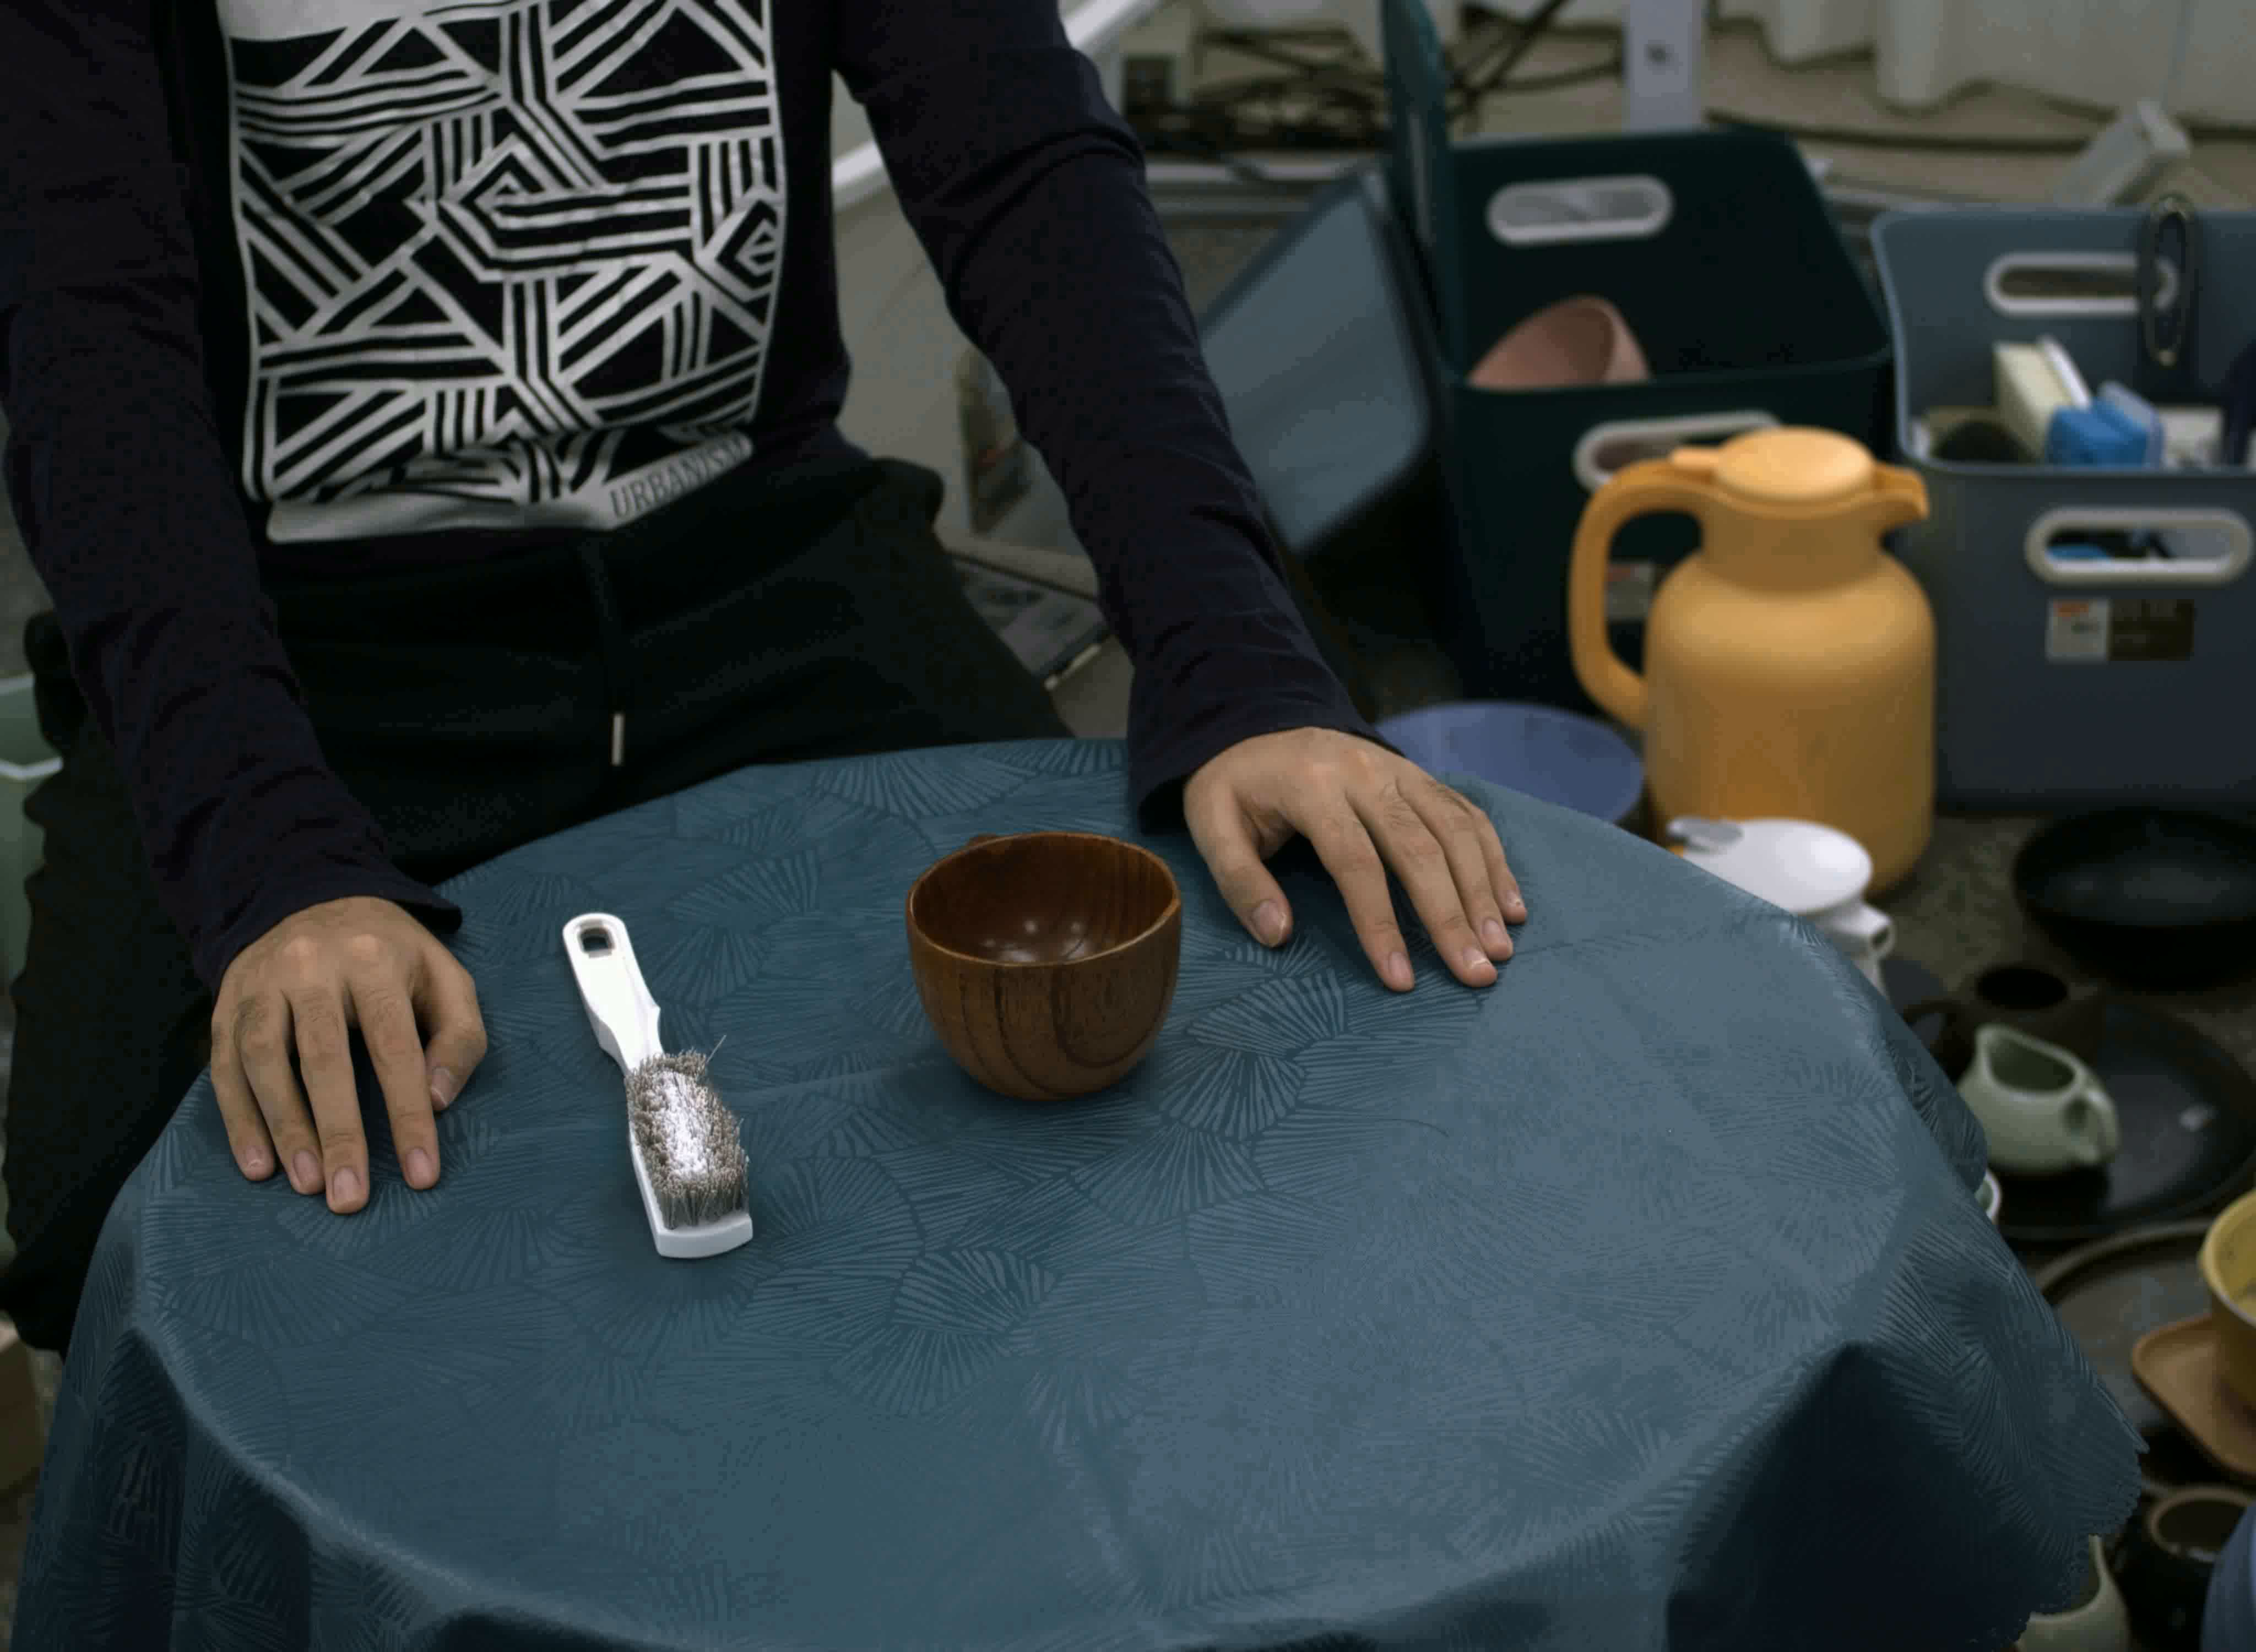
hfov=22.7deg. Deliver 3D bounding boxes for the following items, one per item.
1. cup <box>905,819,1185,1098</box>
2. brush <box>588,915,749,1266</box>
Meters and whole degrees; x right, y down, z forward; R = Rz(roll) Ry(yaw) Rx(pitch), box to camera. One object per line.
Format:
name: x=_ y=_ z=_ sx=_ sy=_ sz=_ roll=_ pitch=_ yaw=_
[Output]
cup: x=-0.031 y=0.044 z=1.937 sx=0.096 sy=0.067 sz=0.120 roll=-14 pitch=31 yaw=-18
brush: x=-0.163 y=0.073 z=1.919 sx=0.034 sy=0.050 sz=0.246 roll=-11 pitch=28 yaw=-7
